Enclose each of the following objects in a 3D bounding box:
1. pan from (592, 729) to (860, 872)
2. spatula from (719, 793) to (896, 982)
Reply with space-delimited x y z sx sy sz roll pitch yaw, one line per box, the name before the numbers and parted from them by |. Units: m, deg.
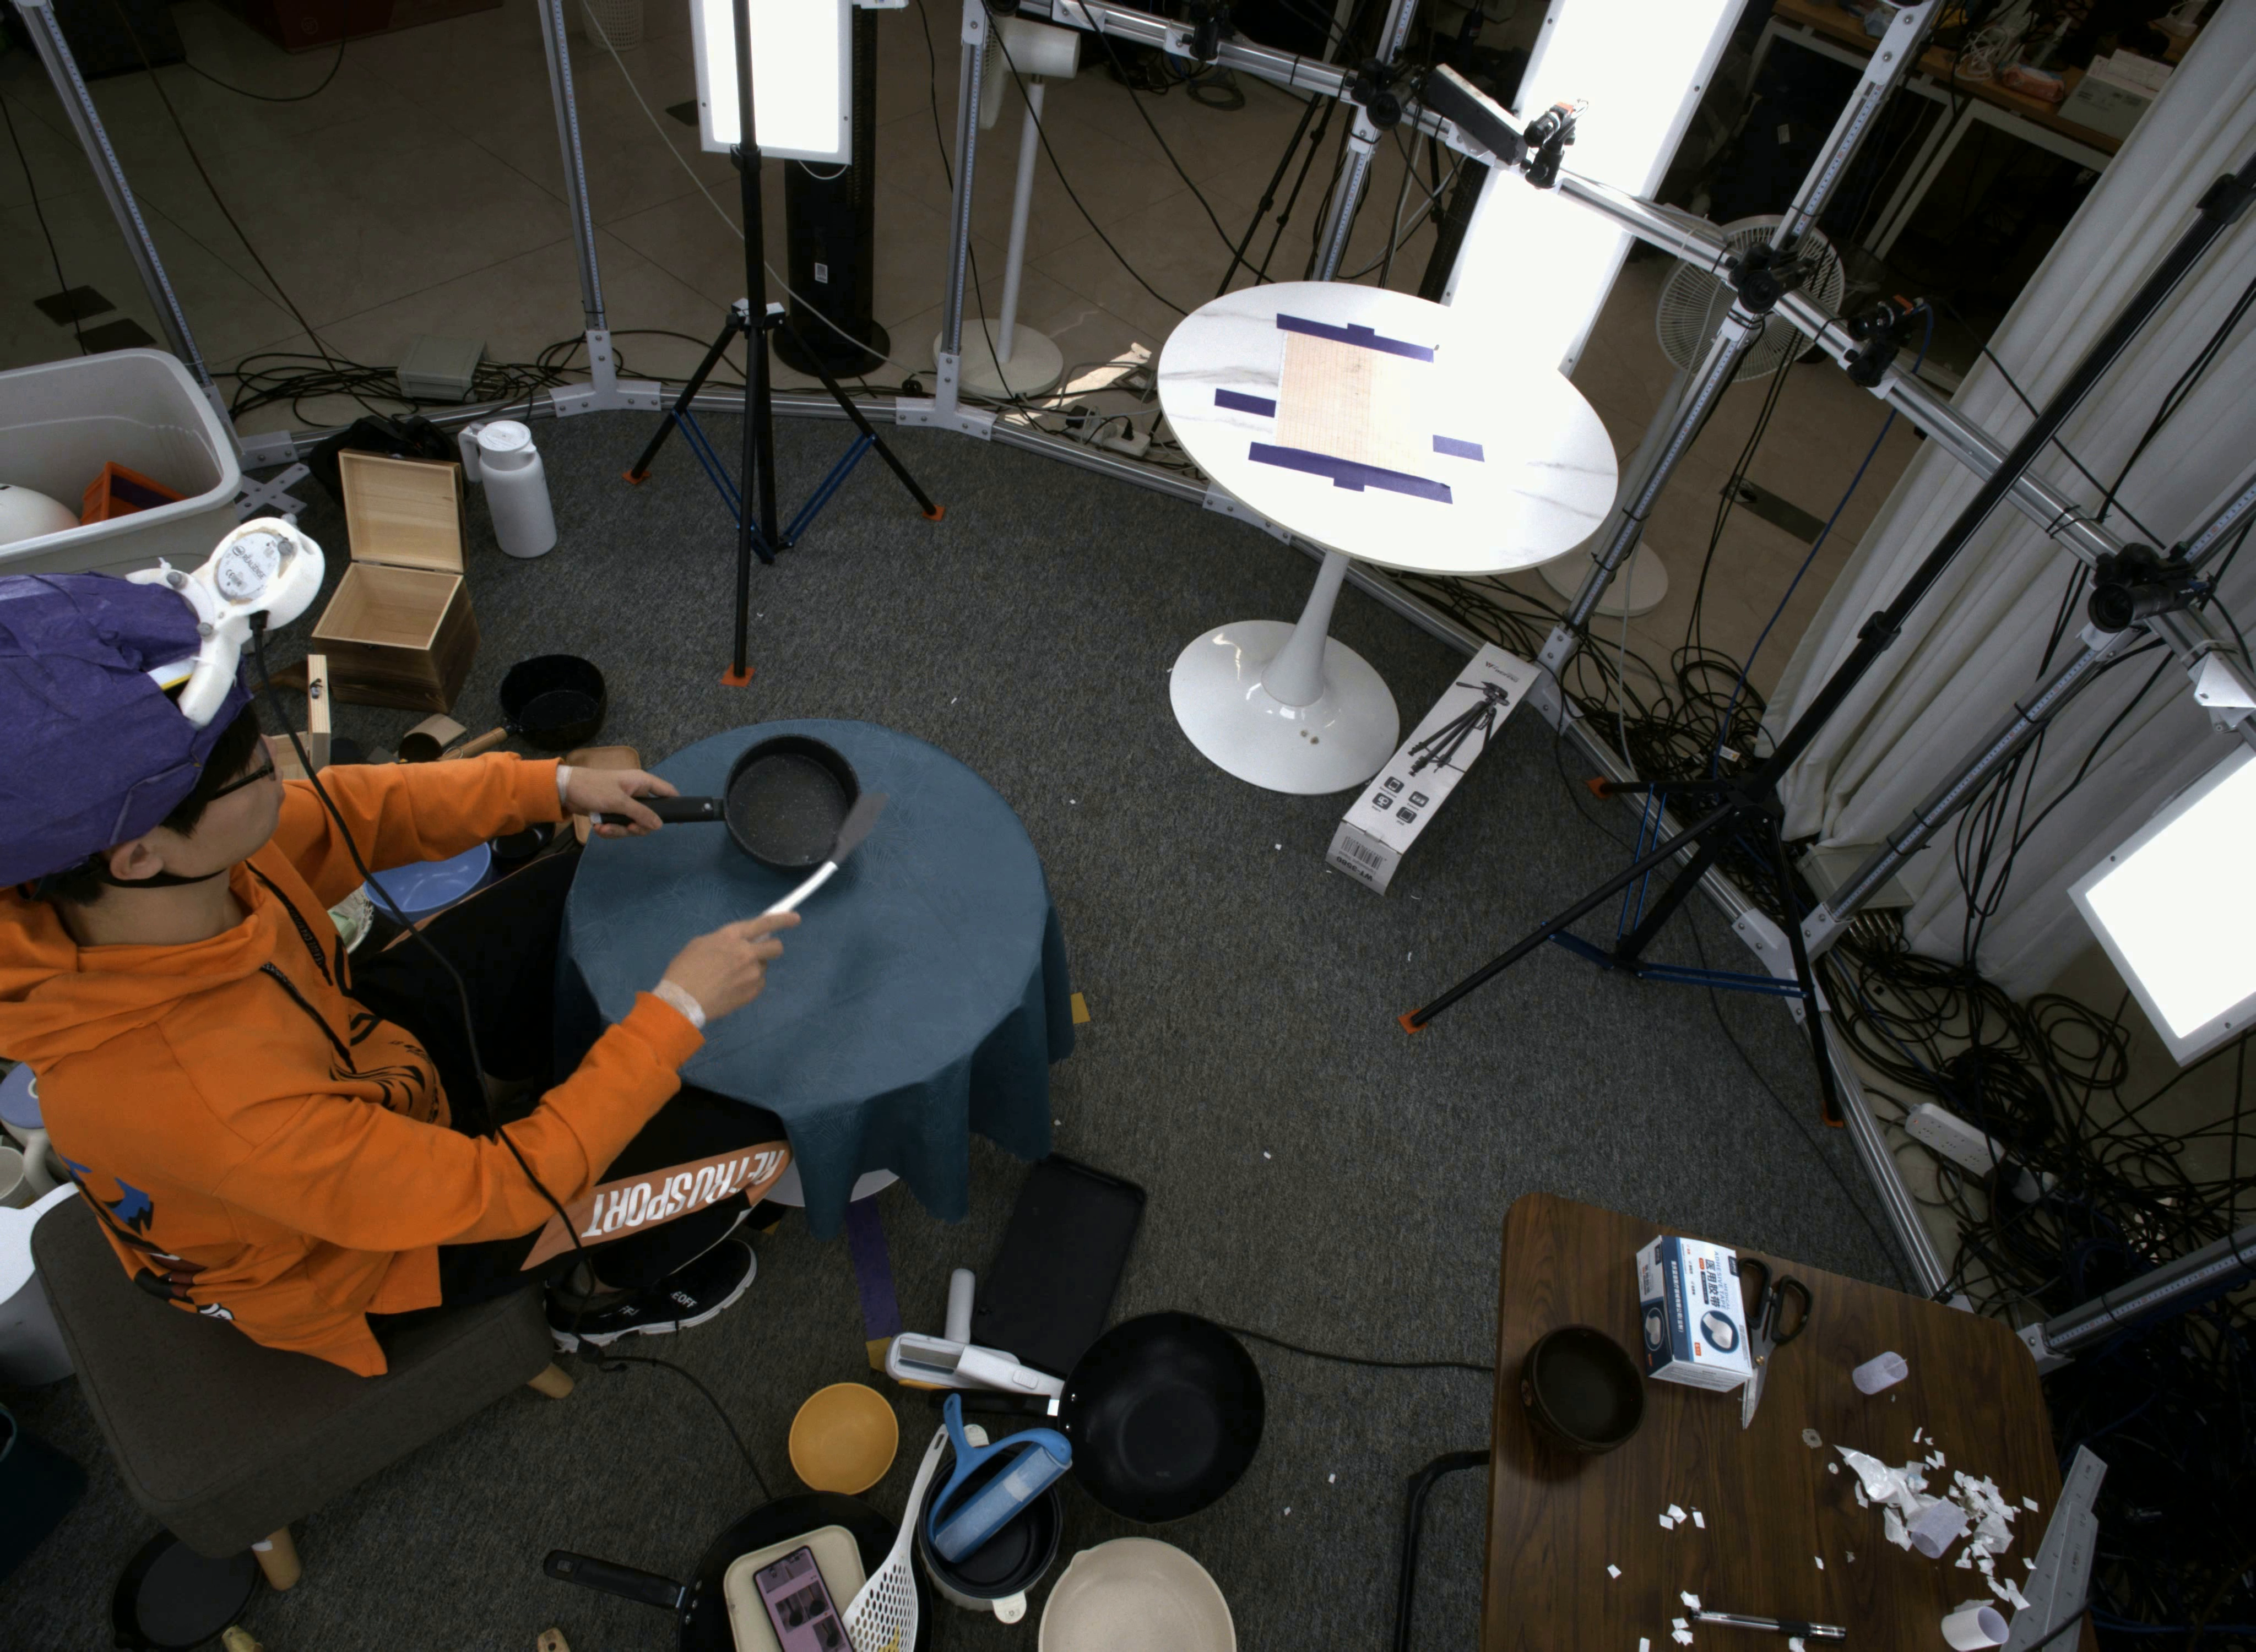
pan | -0.504 -0.026 1.613 0.332 0.086 0.172 -2 77 -25
spatula | -0.357 0.061 1.462 0.057 0.033 0.286 -1 40 40
